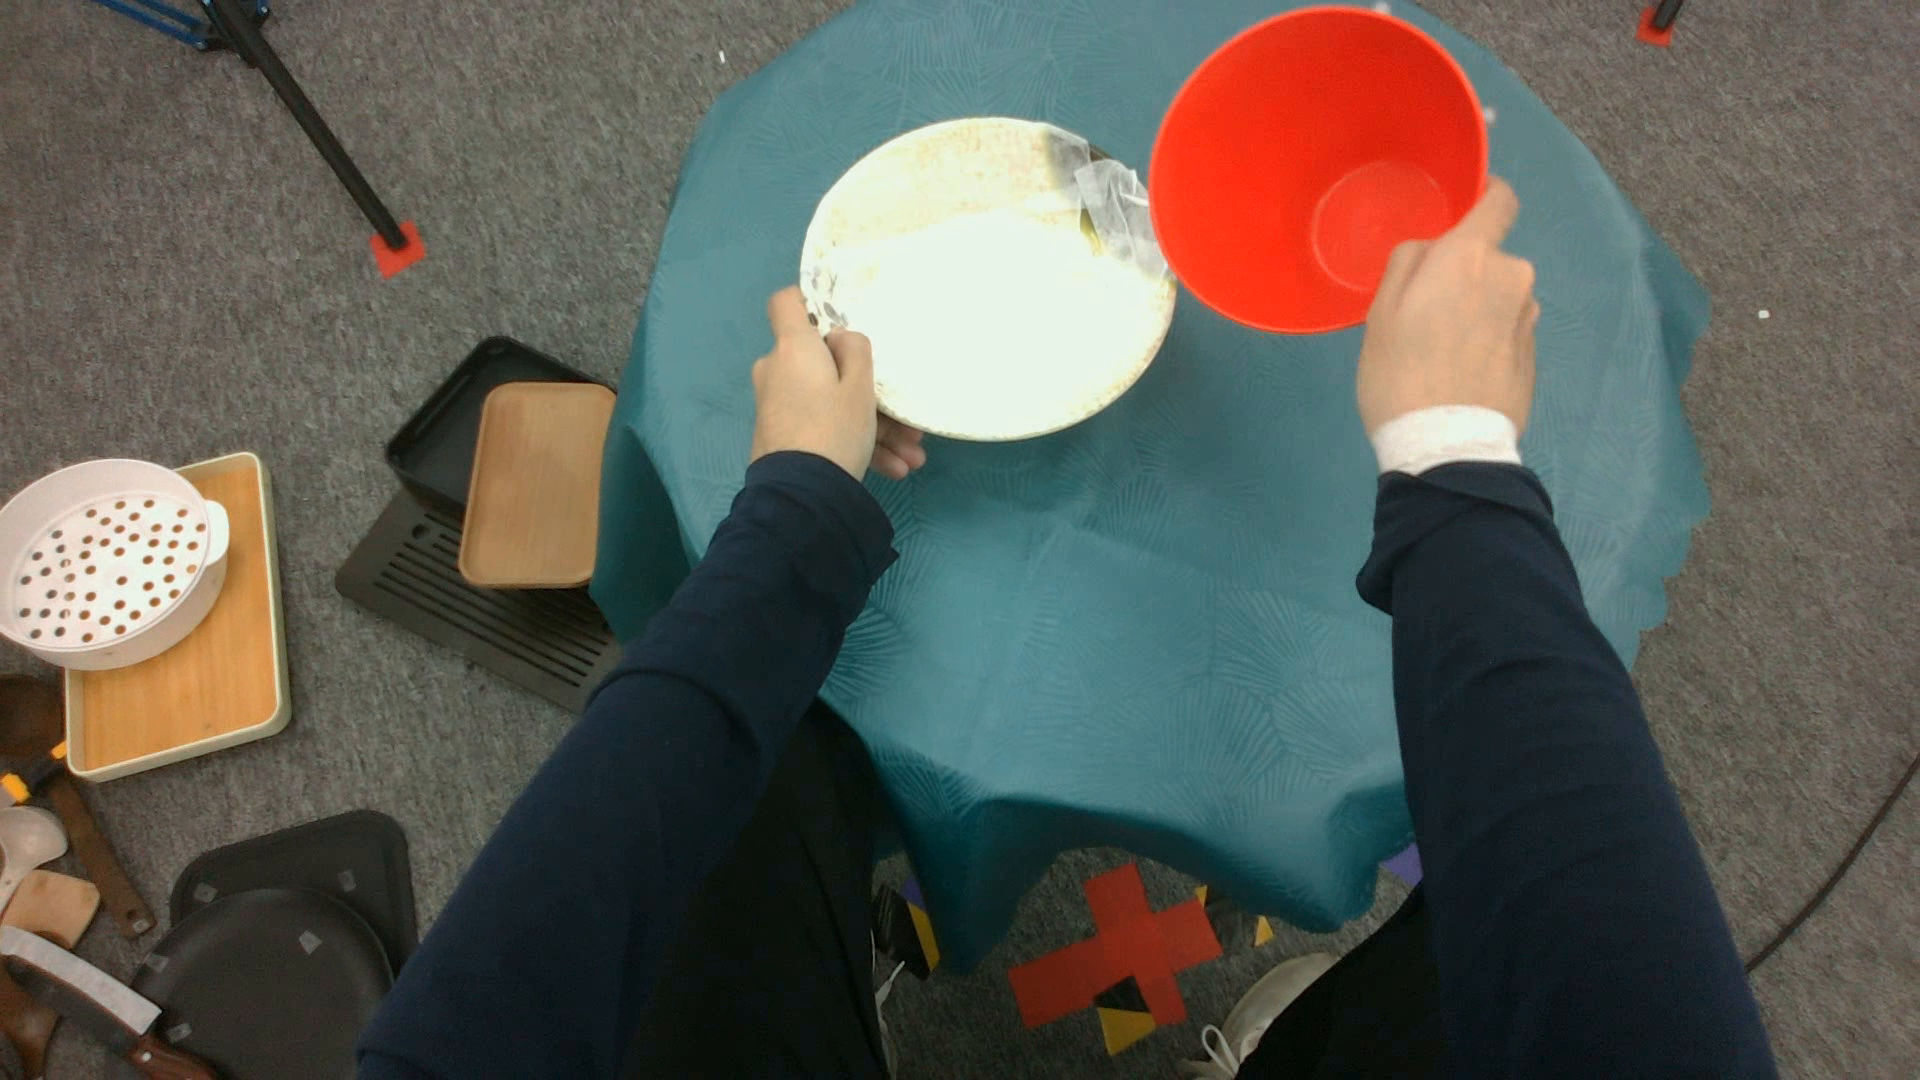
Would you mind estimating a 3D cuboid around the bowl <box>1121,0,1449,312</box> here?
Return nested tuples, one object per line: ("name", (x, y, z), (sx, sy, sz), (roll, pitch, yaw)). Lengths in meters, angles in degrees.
("bowl", (0.166, -0.178, 0.663), (0.147, 0.105, 0.148), (-1, 89, 32))

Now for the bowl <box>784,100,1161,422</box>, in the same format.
("bowl", (0.007, -0.142, 0.774), (0.204, 0.077, 0.204), (0, 68, 1))
